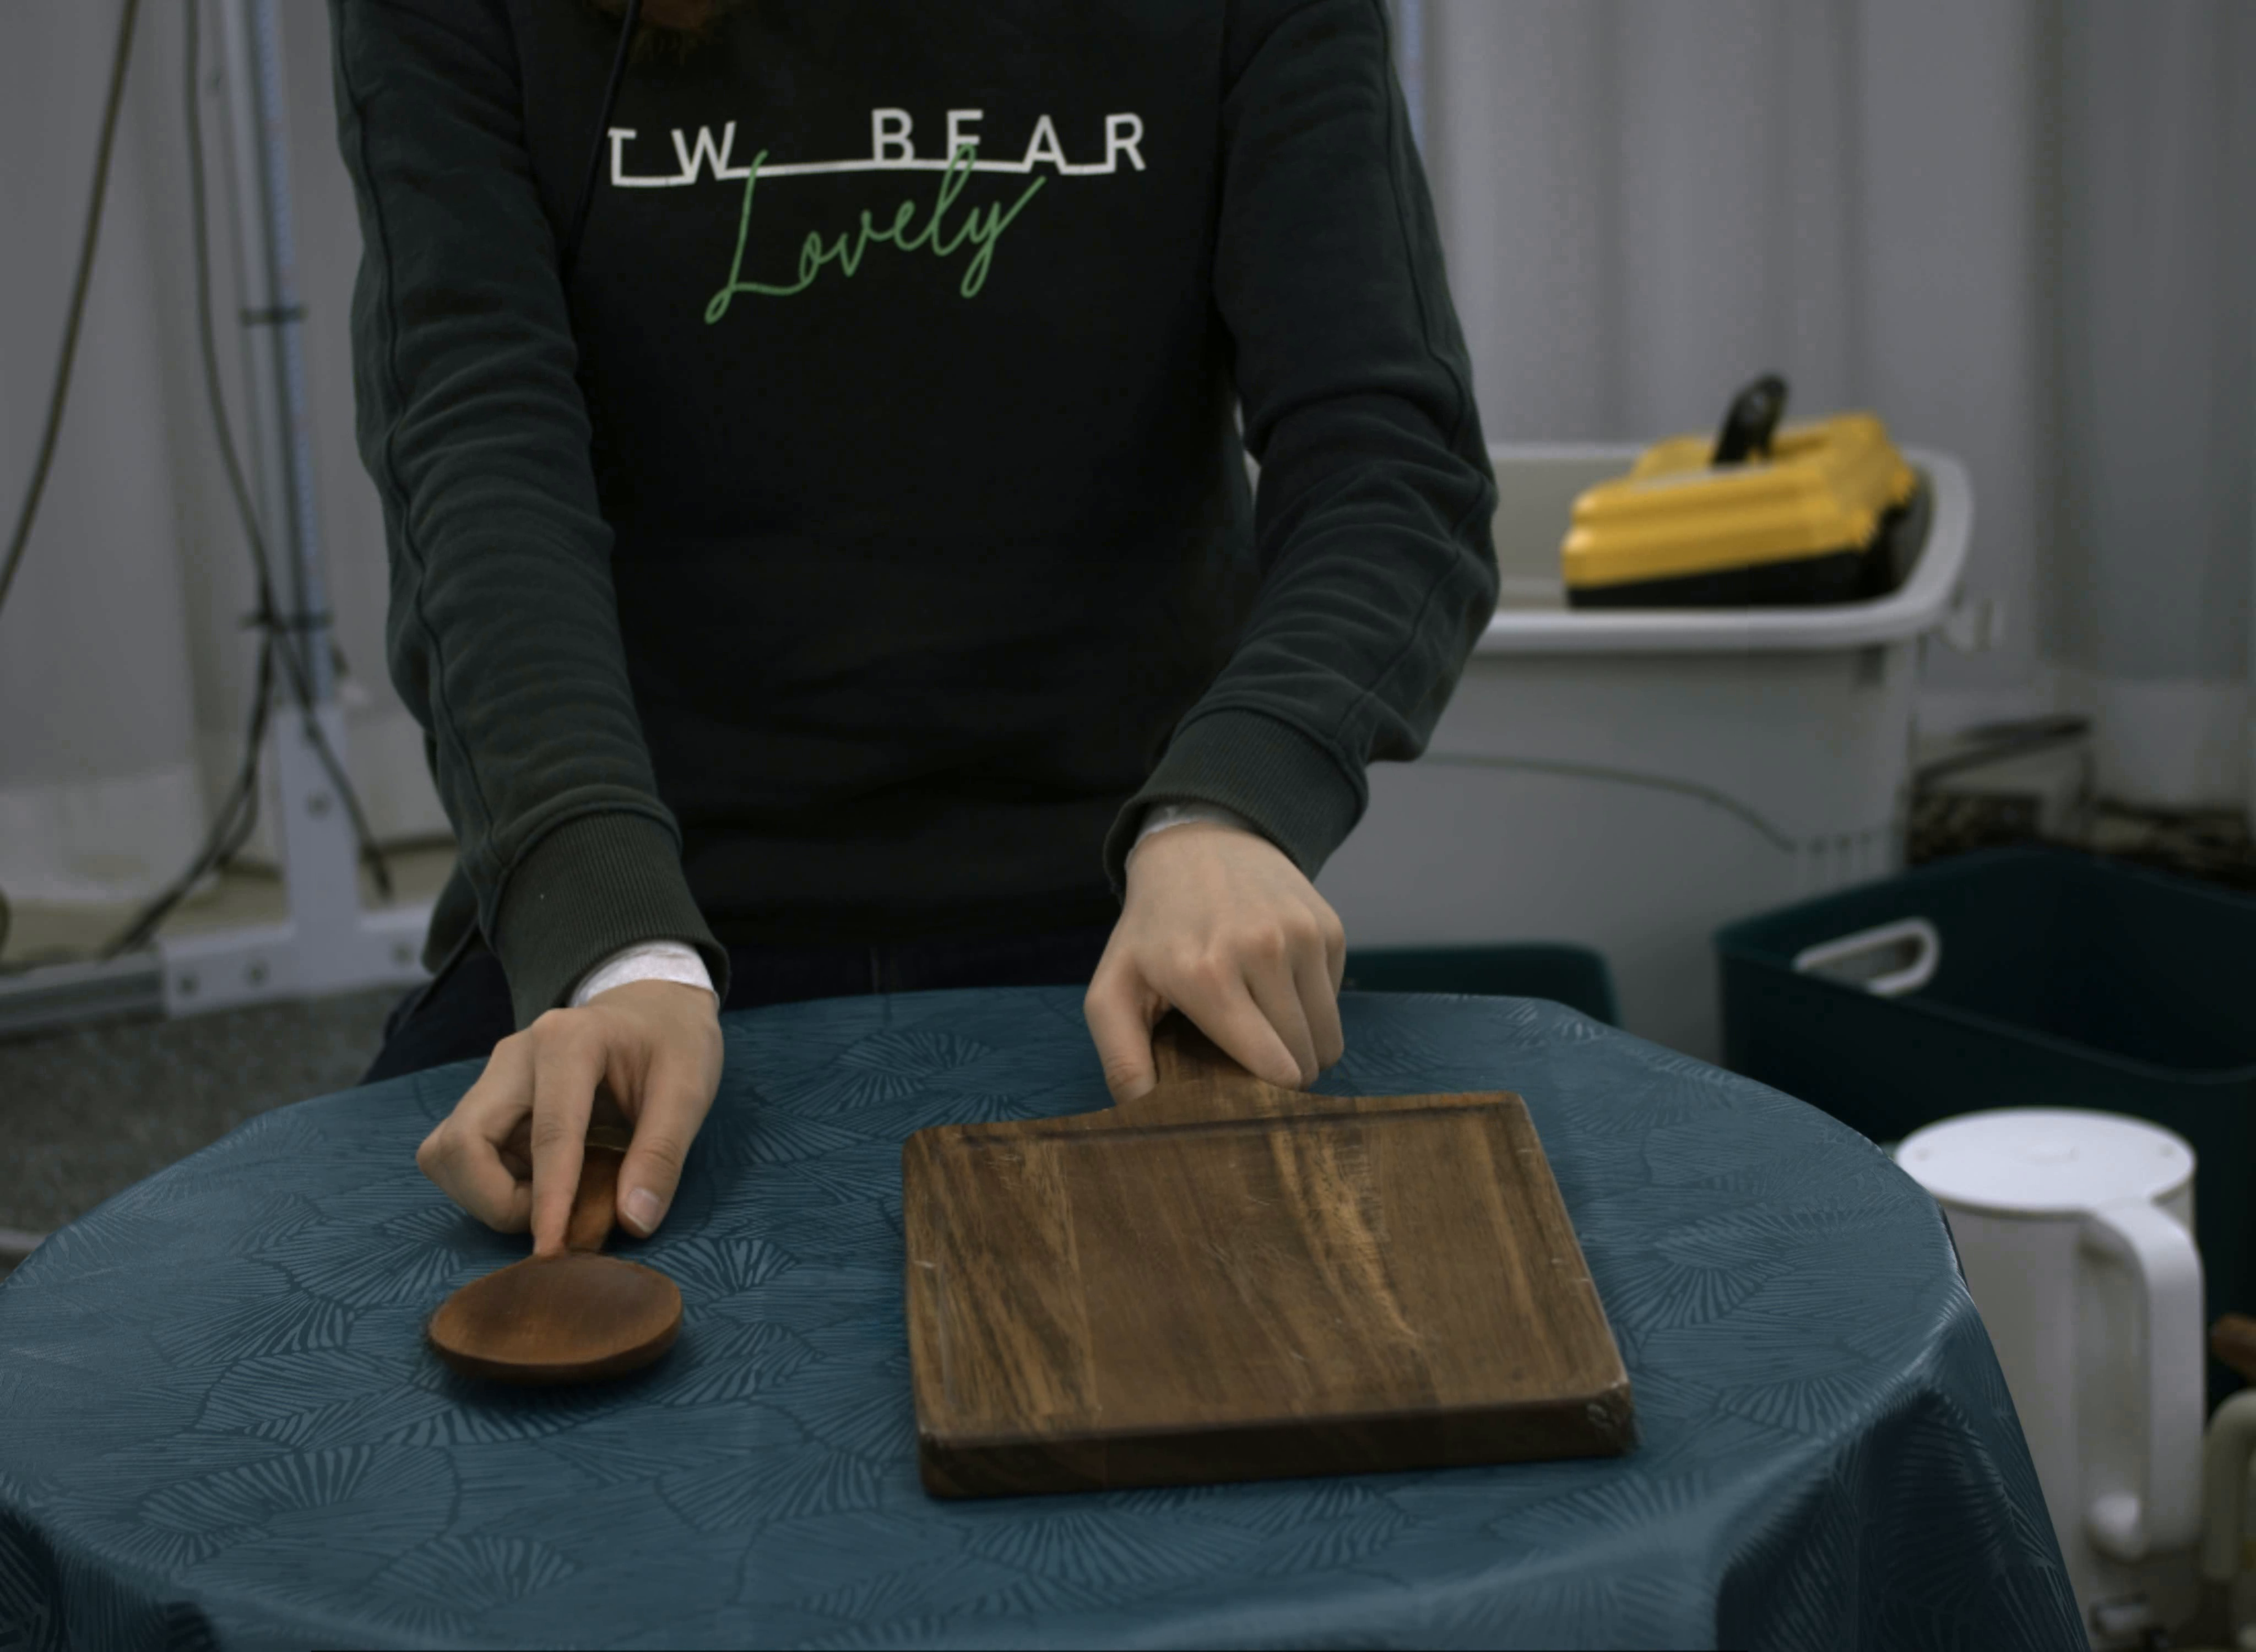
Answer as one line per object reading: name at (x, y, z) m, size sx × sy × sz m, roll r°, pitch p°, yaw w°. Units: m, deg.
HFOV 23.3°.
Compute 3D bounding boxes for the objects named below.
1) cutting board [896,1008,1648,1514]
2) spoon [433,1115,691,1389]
cutting board at (0.032, 0.120, 1.637) m, size 0.200 × 0.023 × 0.355 m, roll -4°, pitch 17°, yaw -2°
spoon at (-0.164, 0.130, 1.651) m, size 0.075 × 0.017 × 0.217 m, roll -4°, pitch 16°, yaw 1°
